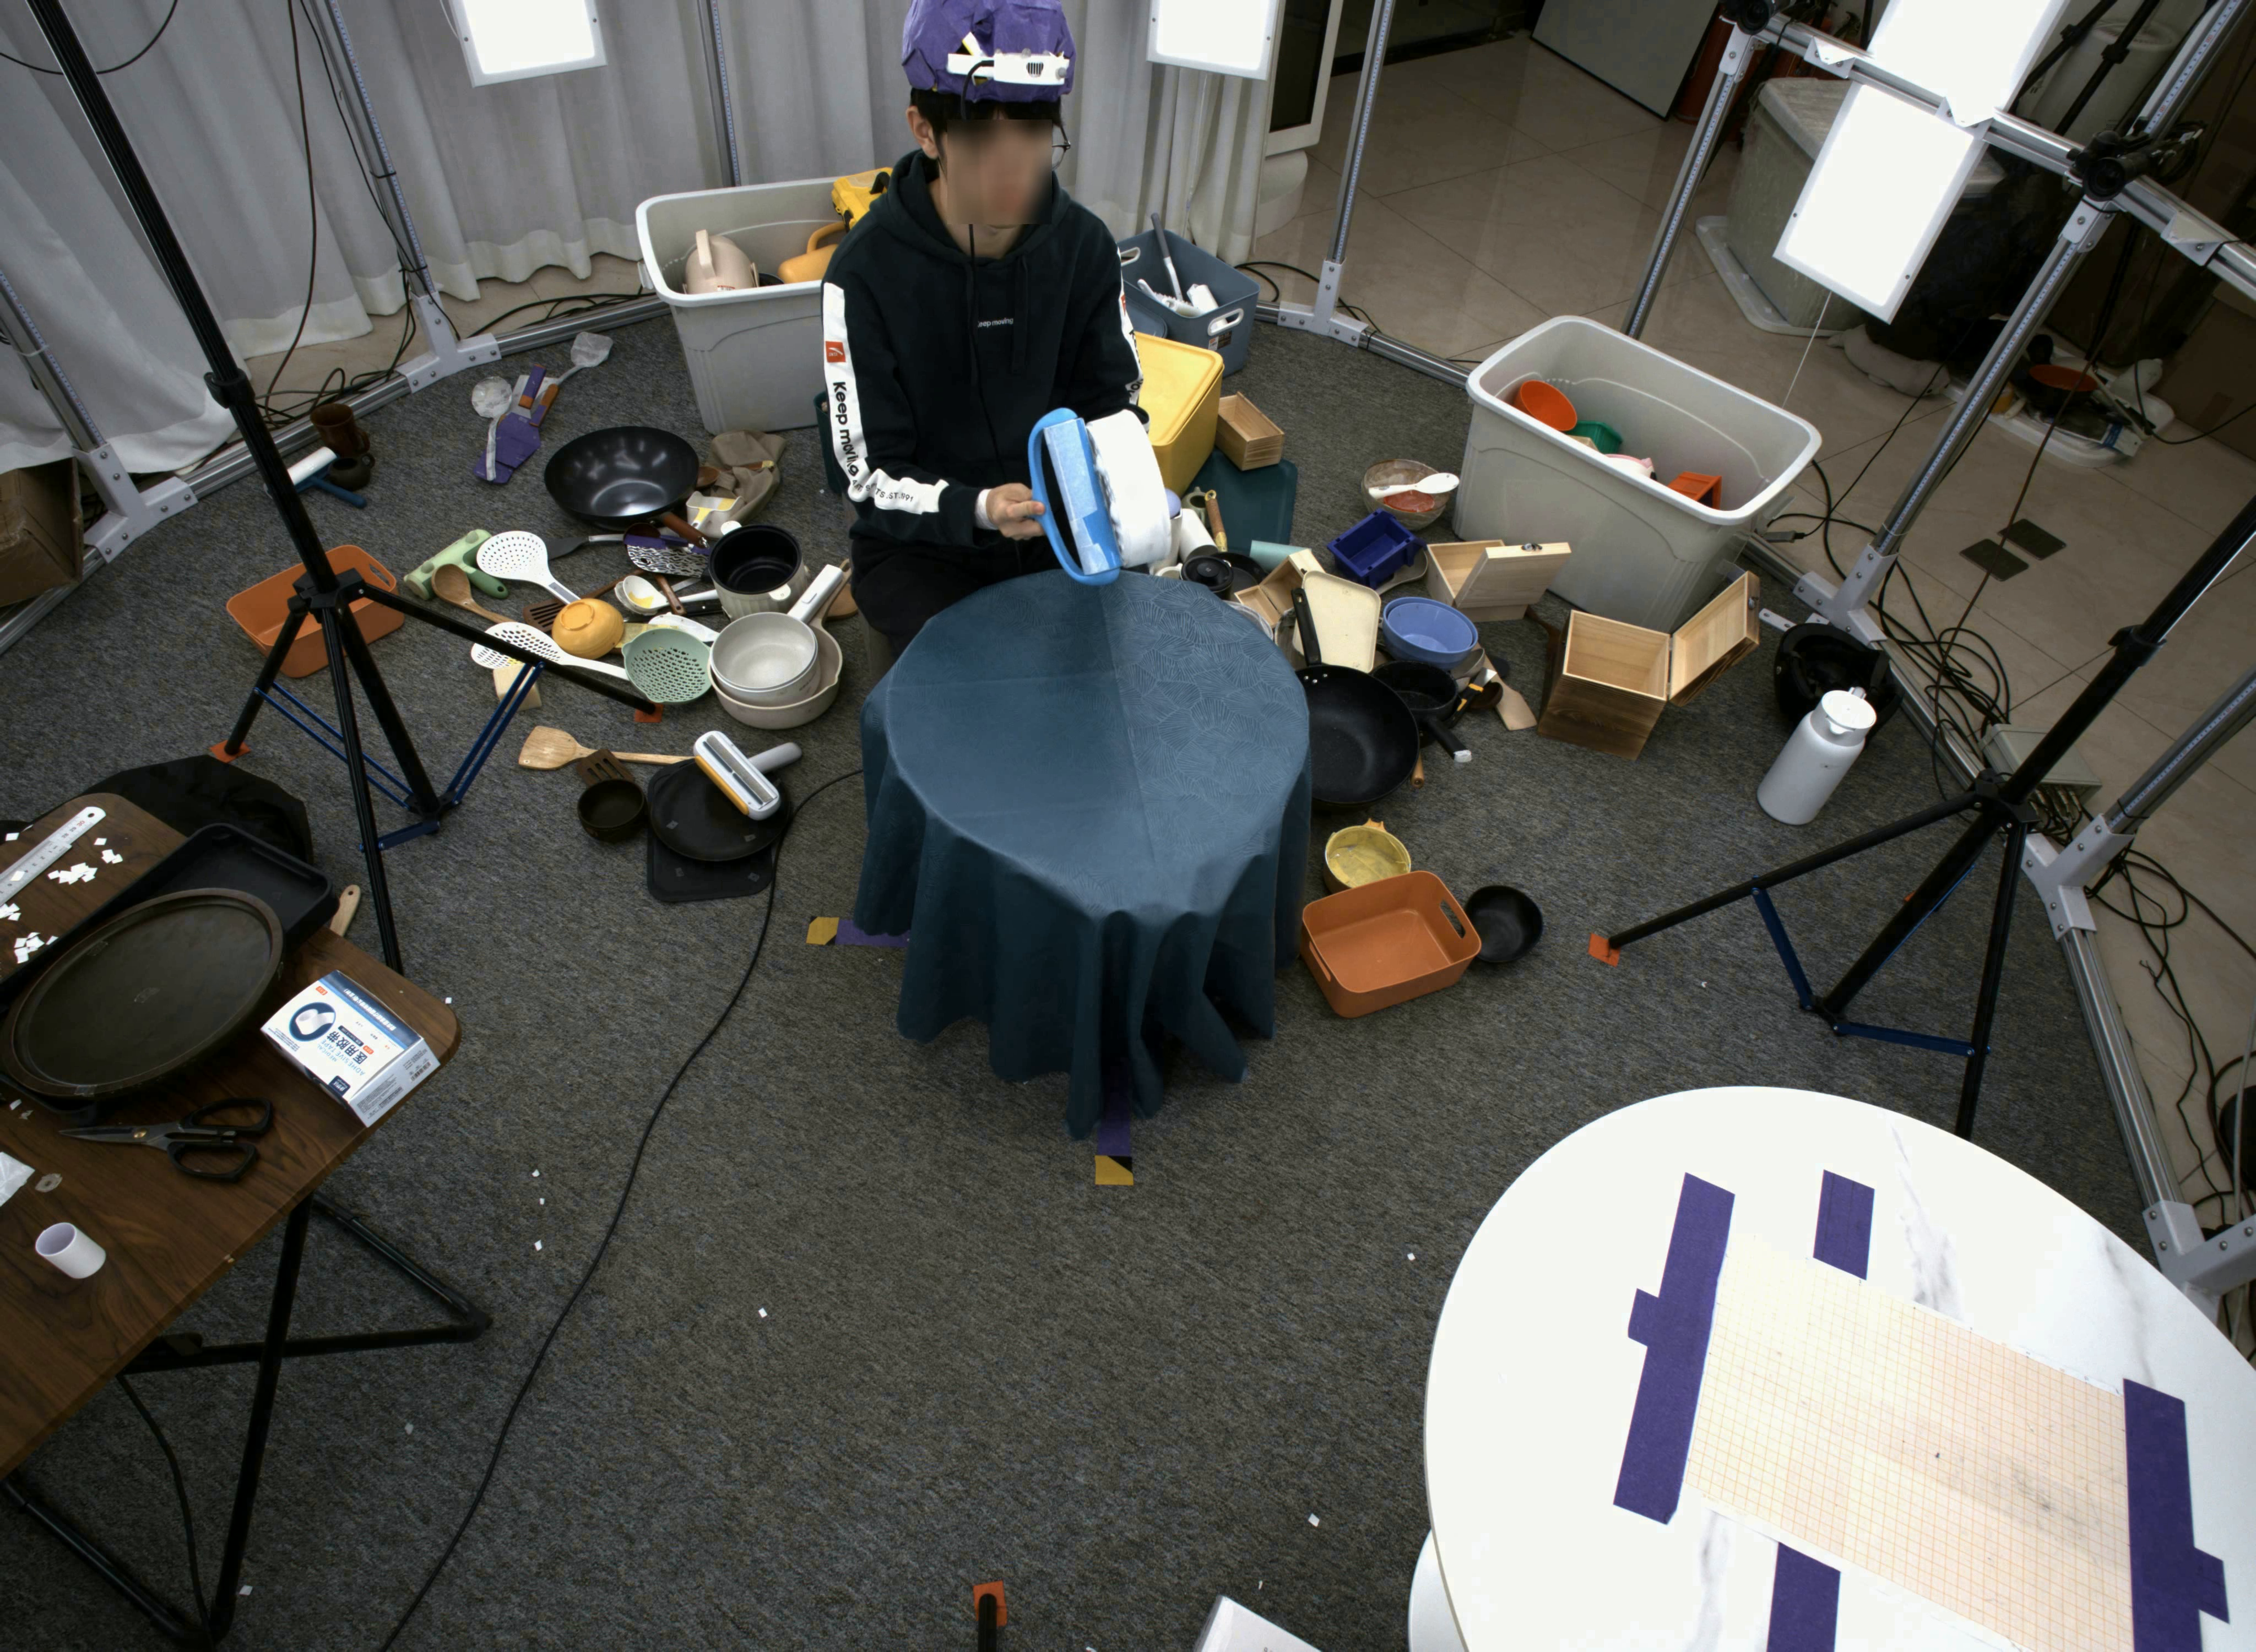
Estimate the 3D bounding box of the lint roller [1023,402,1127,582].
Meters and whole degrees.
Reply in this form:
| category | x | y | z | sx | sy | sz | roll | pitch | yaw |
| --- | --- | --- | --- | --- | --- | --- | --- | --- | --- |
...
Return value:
| category | x | y | z | sx | sy | sz | roll | pitch | yaw |
| --- | --- | --- | --- | --- | --- | --- | --- | --- | --- |
| lint roller | -0.094 | -0.421 | 1.690 | 0.068 | 0.227 | 0.180 | -29 | 14 | -37 |

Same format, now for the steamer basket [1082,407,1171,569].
| category | x | y | z | sx | sy | sz | roll | pitch | yaw |
| --- | --- | --- | --- | --- | --- | --- | --- | --- | --- |
| steamer basket | -0.008 | -0.437 | 1.686 | 0.069 | 0.197 | 0.236 | -16 | 34 | -9 |
